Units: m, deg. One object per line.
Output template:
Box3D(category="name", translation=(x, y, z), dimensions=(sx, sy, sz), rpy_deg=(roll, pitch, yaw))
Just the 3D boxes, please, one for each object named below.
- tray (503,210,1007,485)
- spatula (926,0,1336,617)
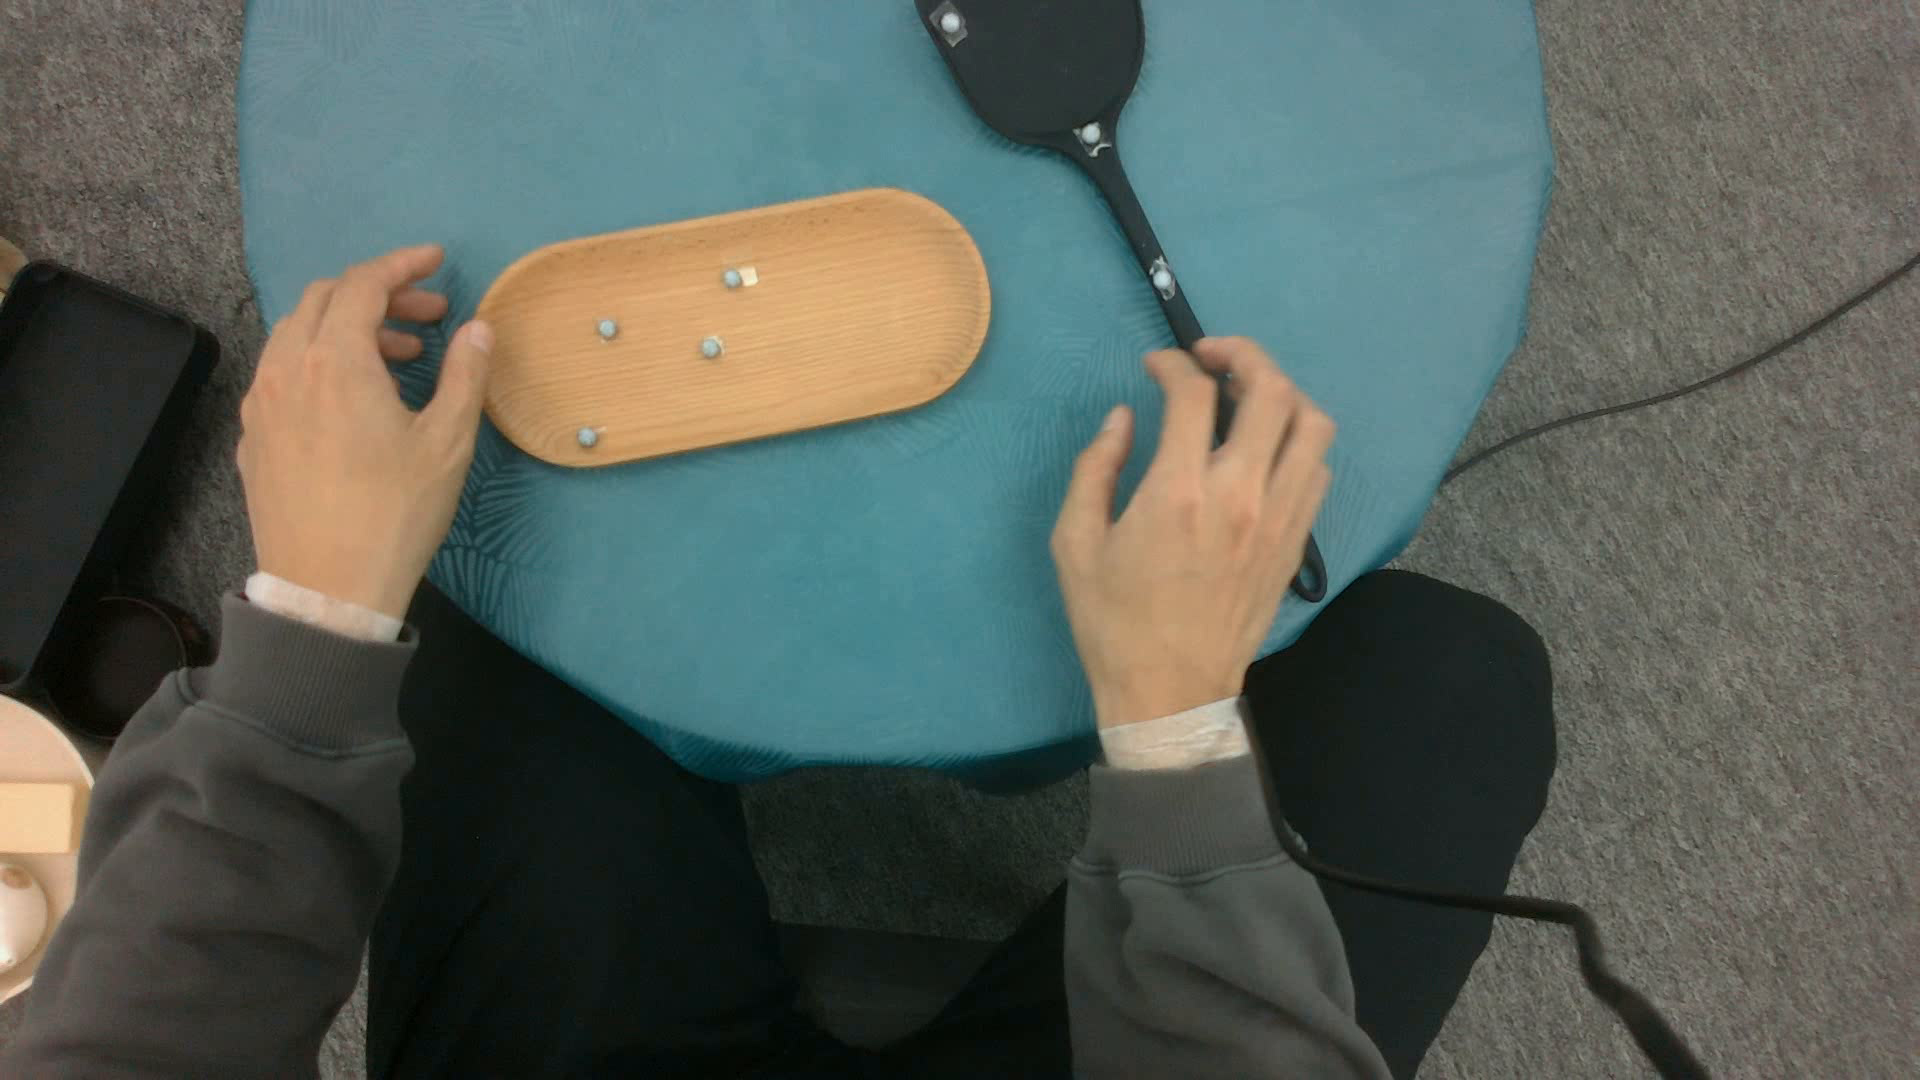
Box3D(category="tray", translation=(-0.093, -0.088, 0.632), dimensions=(0.231, 0.020, 0.102), rpy_deg=(-11, 87, -3))
Box3D(category="spatula", translation=(0.096, -0.111, 0.626), dimensions=(0.100, 0.040, 0.326), rpy_deg=(-27, 87, -1))
